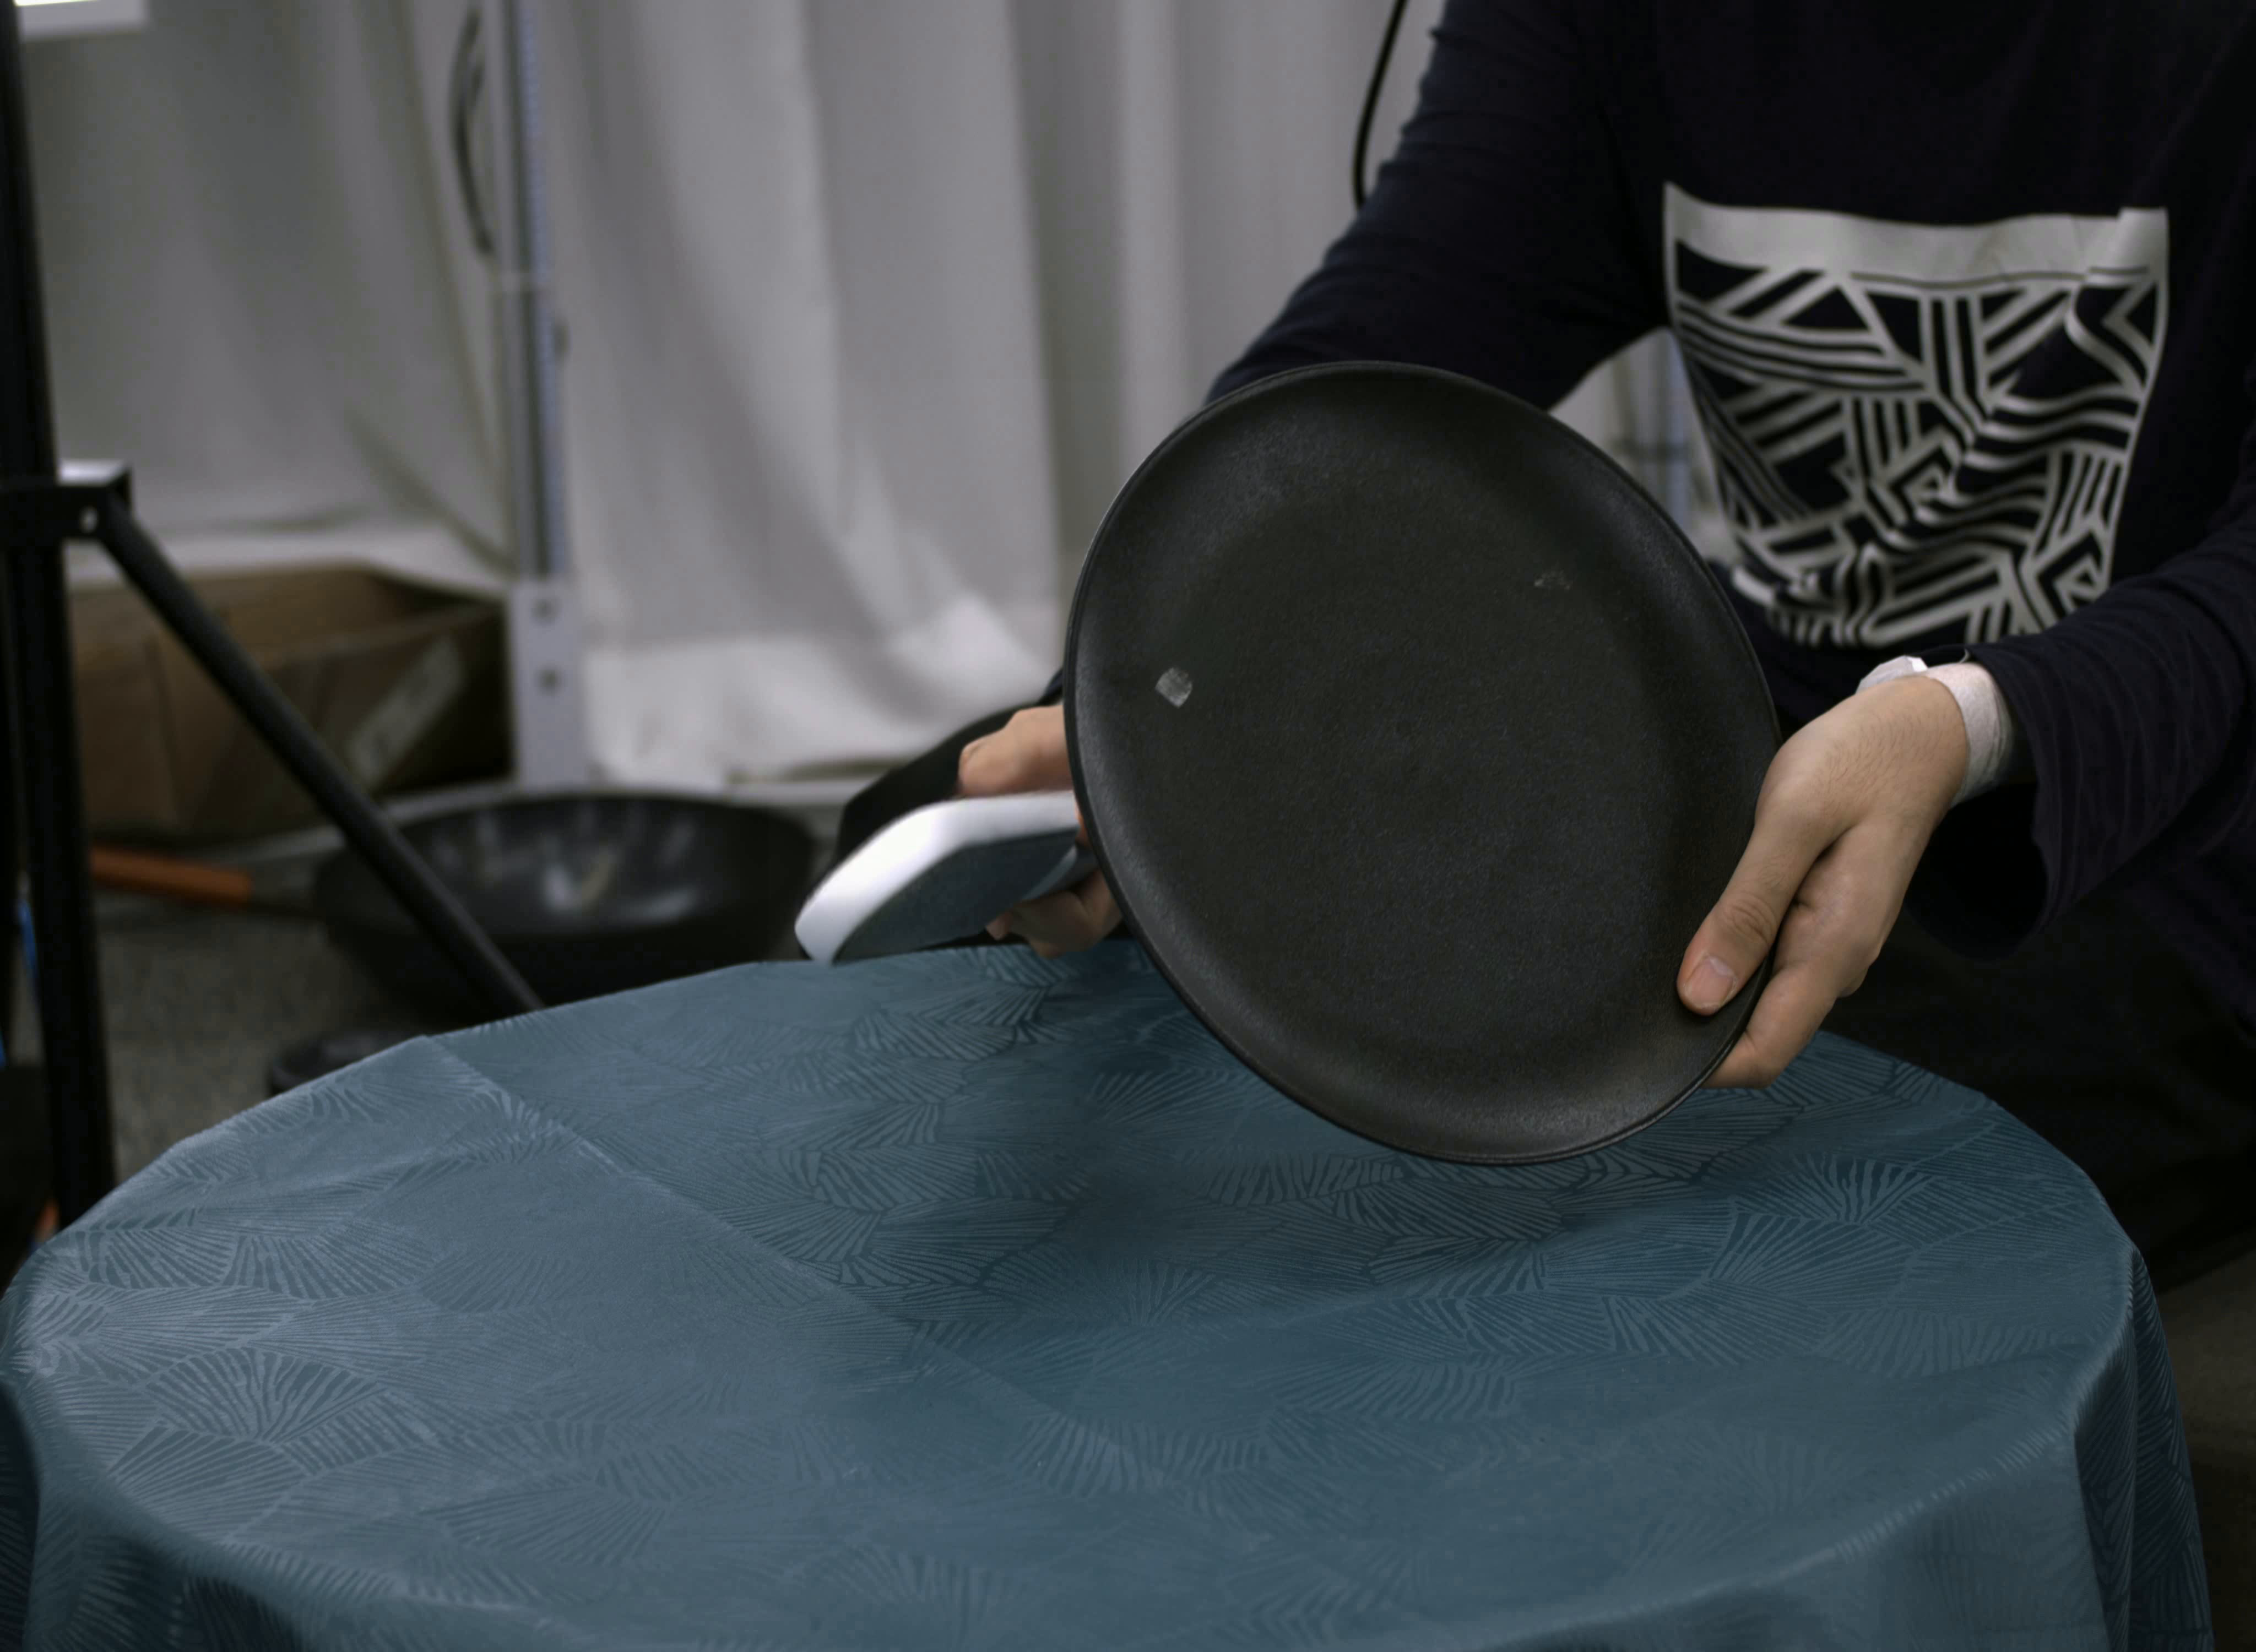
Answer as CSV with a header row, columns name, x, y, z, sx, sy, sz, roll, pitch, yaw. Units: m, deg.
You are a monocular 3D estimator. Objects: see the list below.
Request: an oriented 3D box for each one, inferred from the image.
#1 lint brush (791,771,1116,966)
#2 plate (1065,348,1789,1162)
name,x,y,z,sx,sy,sz,roll,pitch,yaw
lint brush,-0.040,0.008,1.618,0.021,0.060,0.305,45,12,7
plate,0.085,-0.019,1.531,0.239,0.247,0.024,-12,-12,-30
